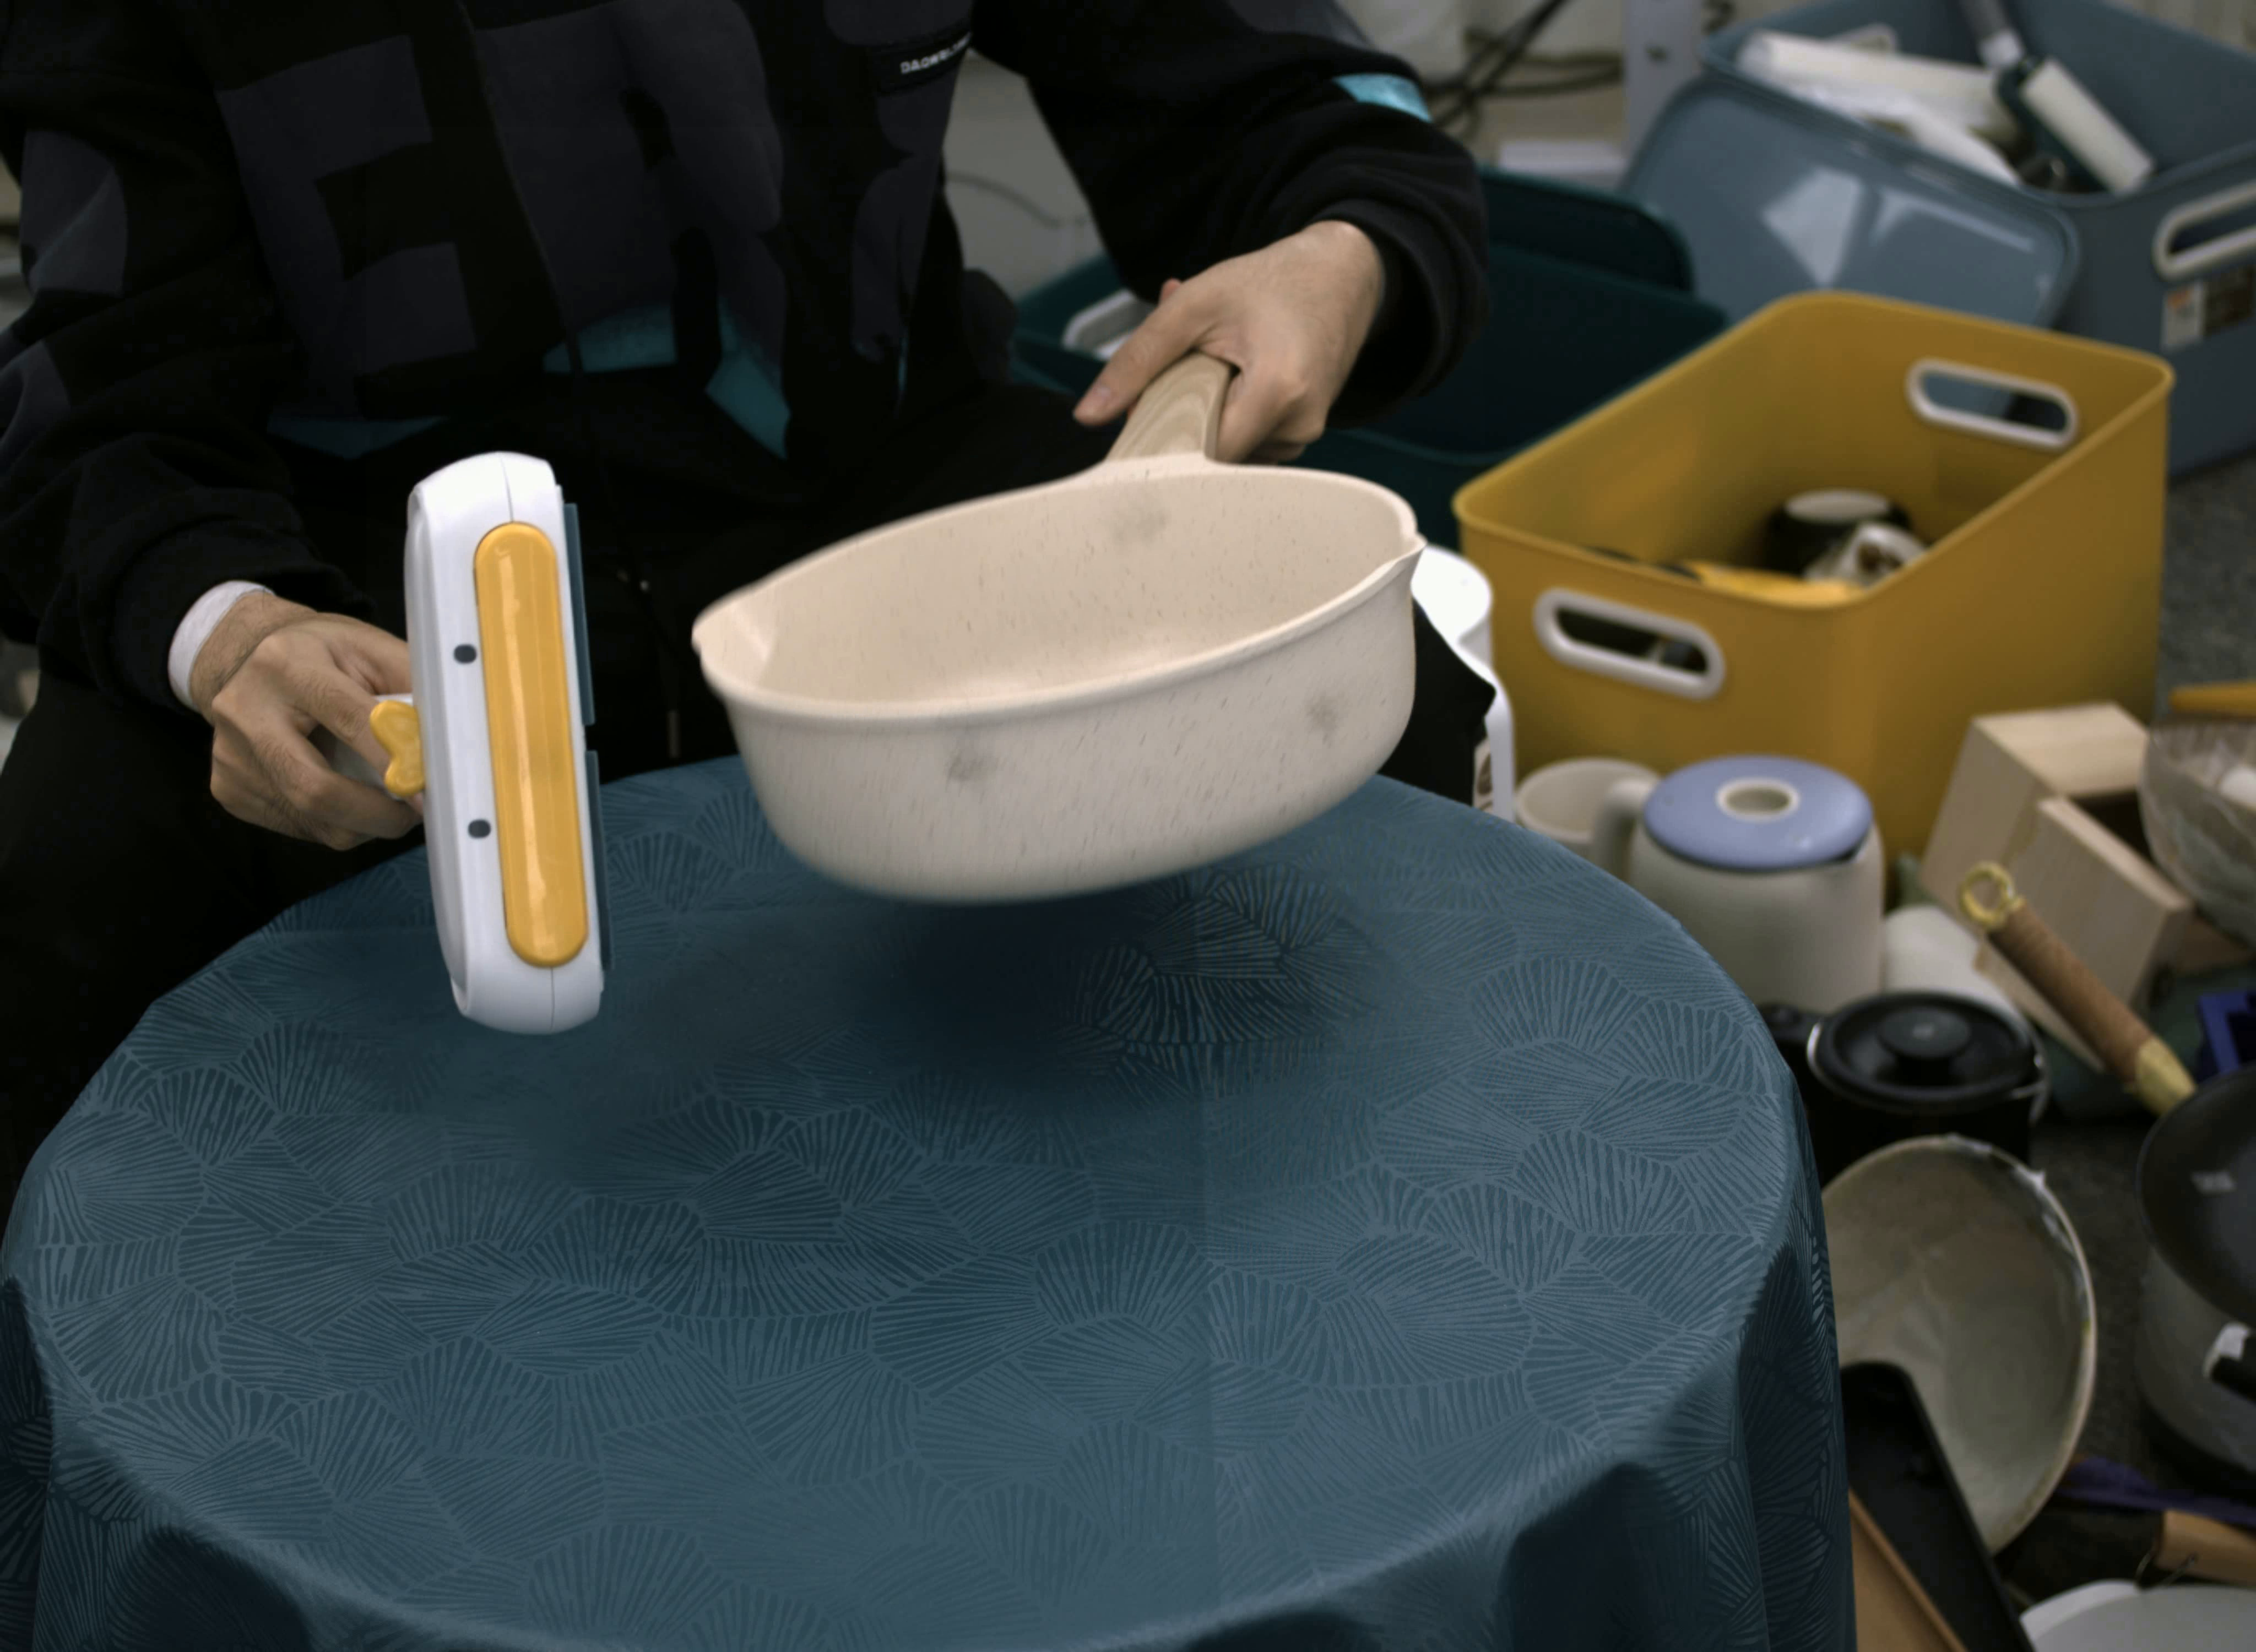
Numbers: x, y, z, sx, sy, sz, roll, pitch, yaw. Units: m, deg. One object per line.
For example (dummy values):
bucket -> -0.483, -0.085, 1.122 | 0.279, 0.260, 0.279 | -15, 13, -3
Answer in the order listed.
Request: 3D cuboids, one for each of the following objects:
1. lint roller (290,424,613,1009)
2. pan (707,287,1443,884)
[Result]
lint roller -> -0.234, -0.030, 1.908 | 0.074, 0.194, 0.191 | -10, -1, -23
pan -> 0.006, -0.090, 2.032 | 0.261, 0.101, 0.441 | -7, 18, 15
